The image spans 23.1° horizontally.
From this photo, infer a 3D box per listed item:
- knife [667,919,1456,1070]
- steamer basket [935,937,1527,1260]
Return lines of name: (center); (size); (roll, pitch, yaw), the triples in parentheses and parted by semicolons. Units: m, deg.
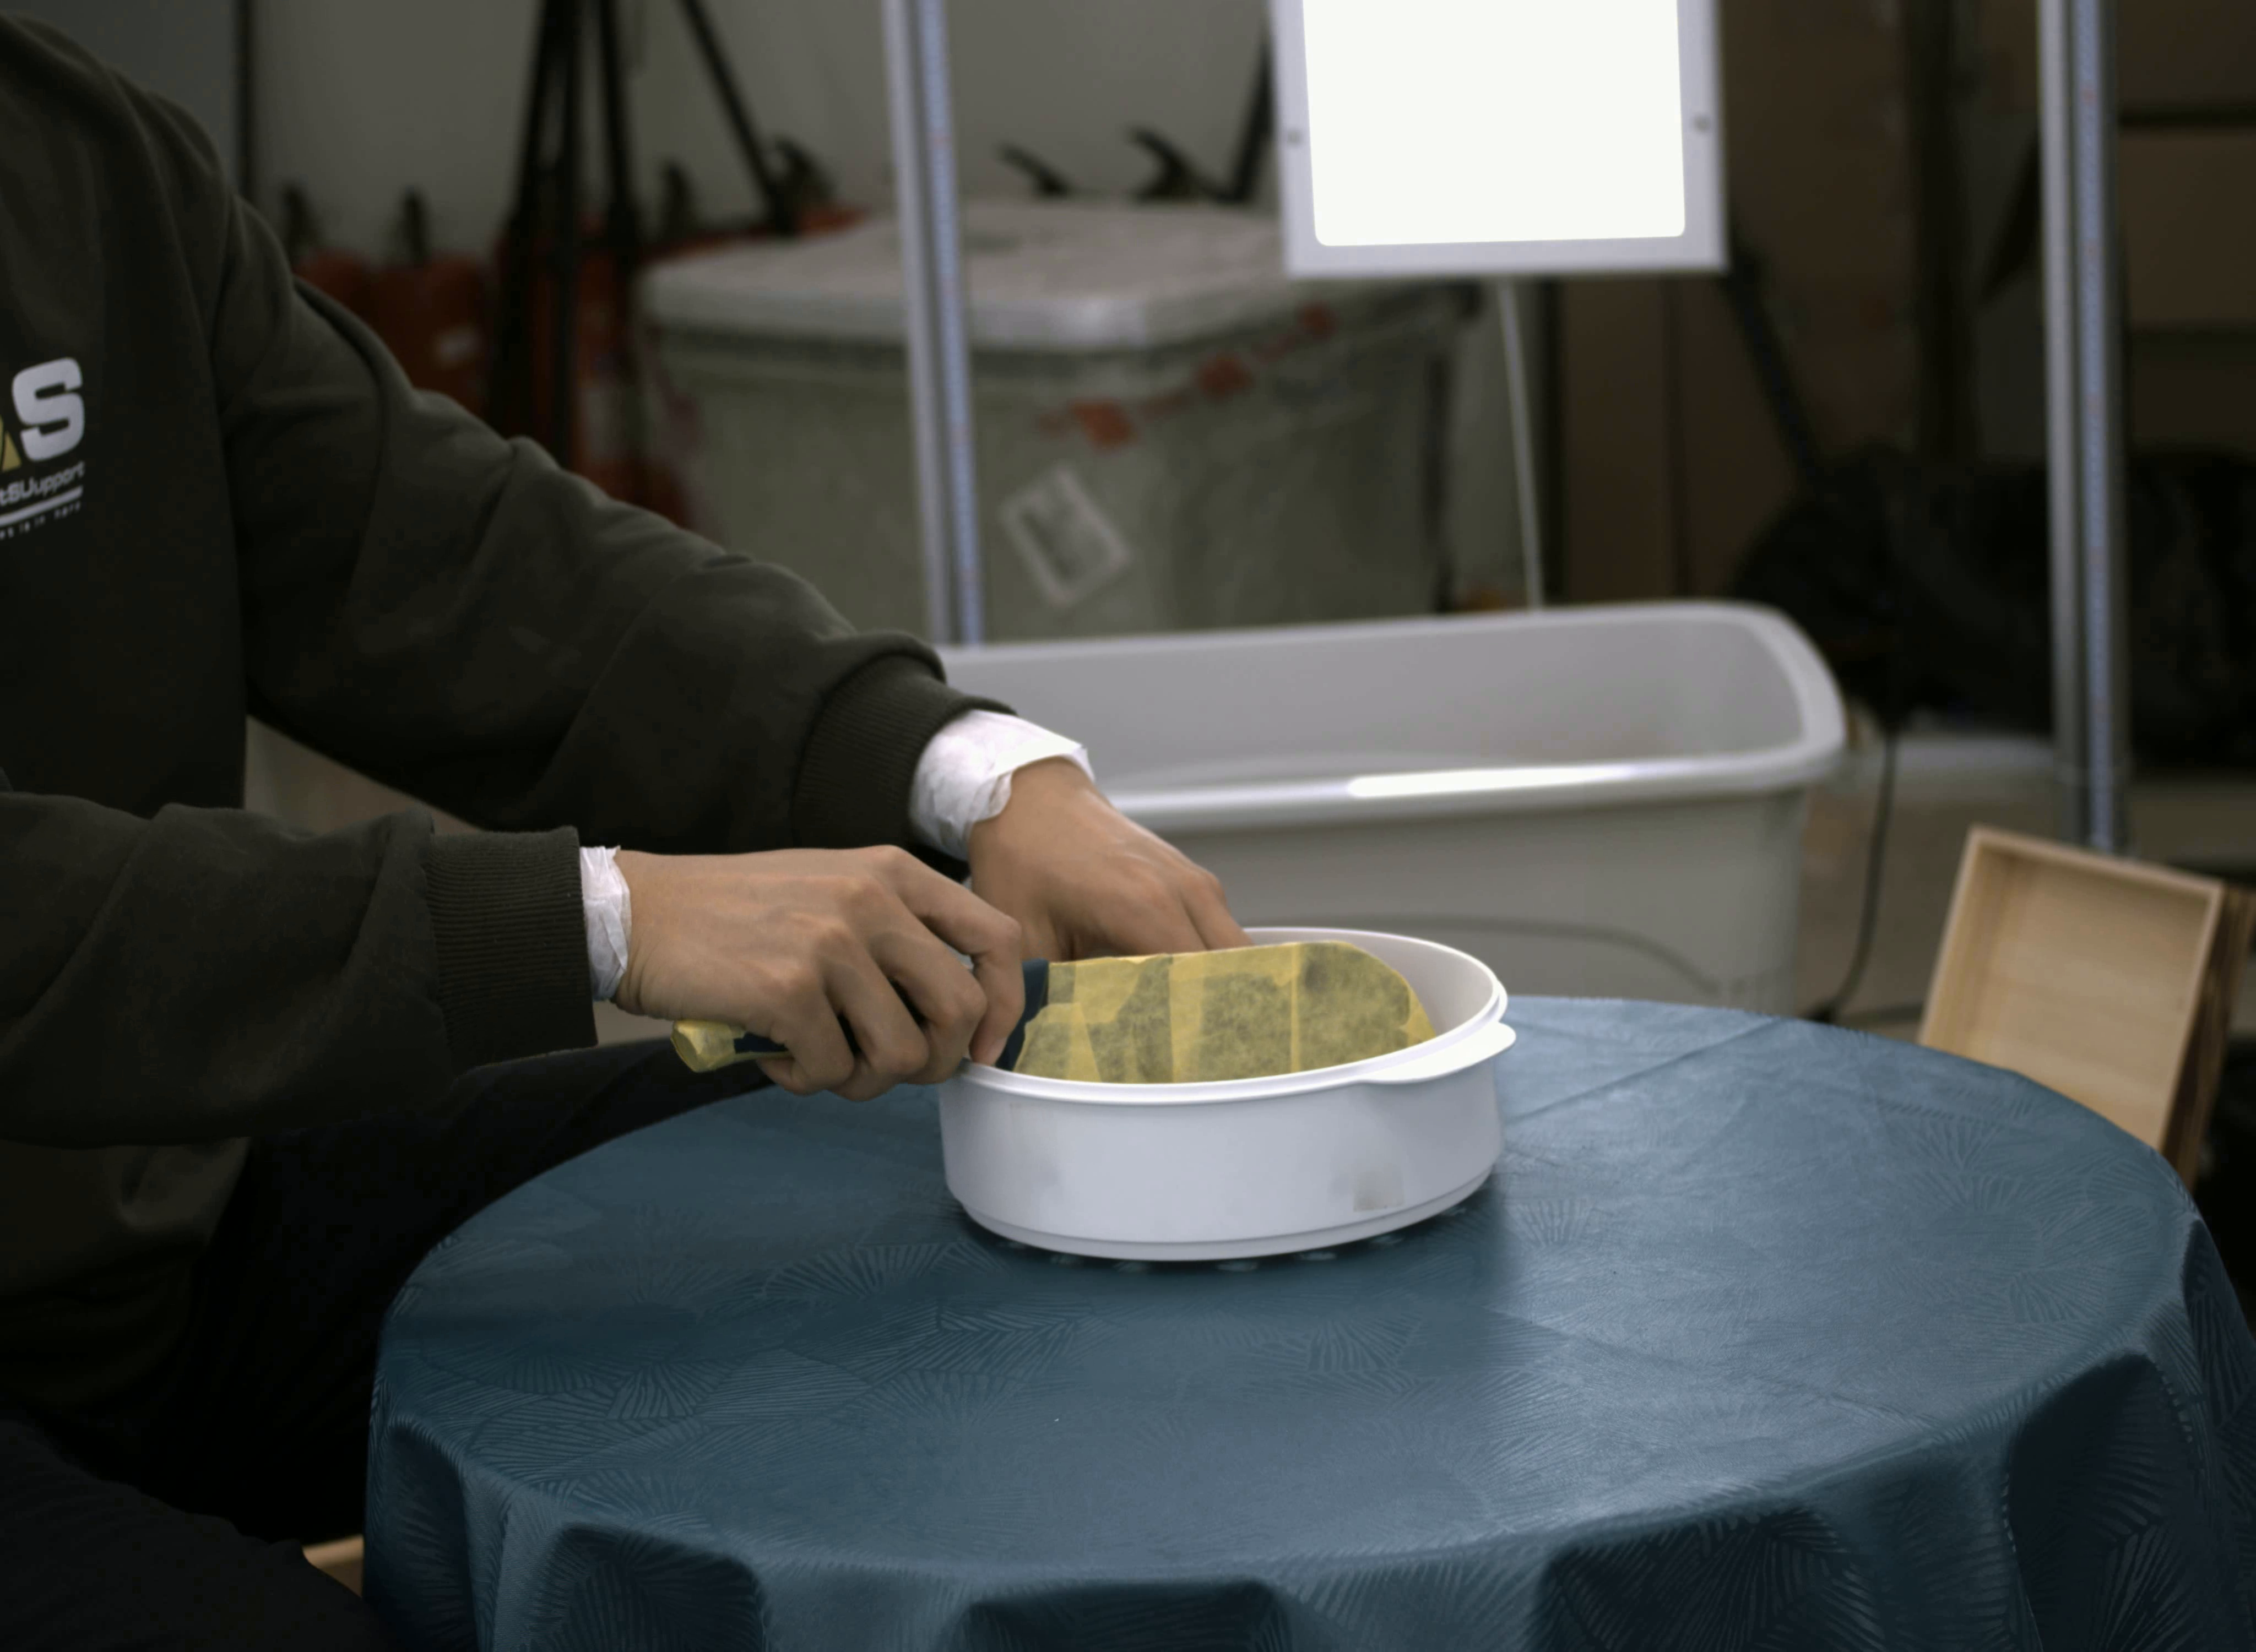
knife: (-0.017, 0.069, 1.870); (0.285, 0.081, 0.027); (3, 3, -17)
steamer basket: (0.036, 0.093, 1.885); (0.235, 0.069, 0.197); (6, 17, 43)
